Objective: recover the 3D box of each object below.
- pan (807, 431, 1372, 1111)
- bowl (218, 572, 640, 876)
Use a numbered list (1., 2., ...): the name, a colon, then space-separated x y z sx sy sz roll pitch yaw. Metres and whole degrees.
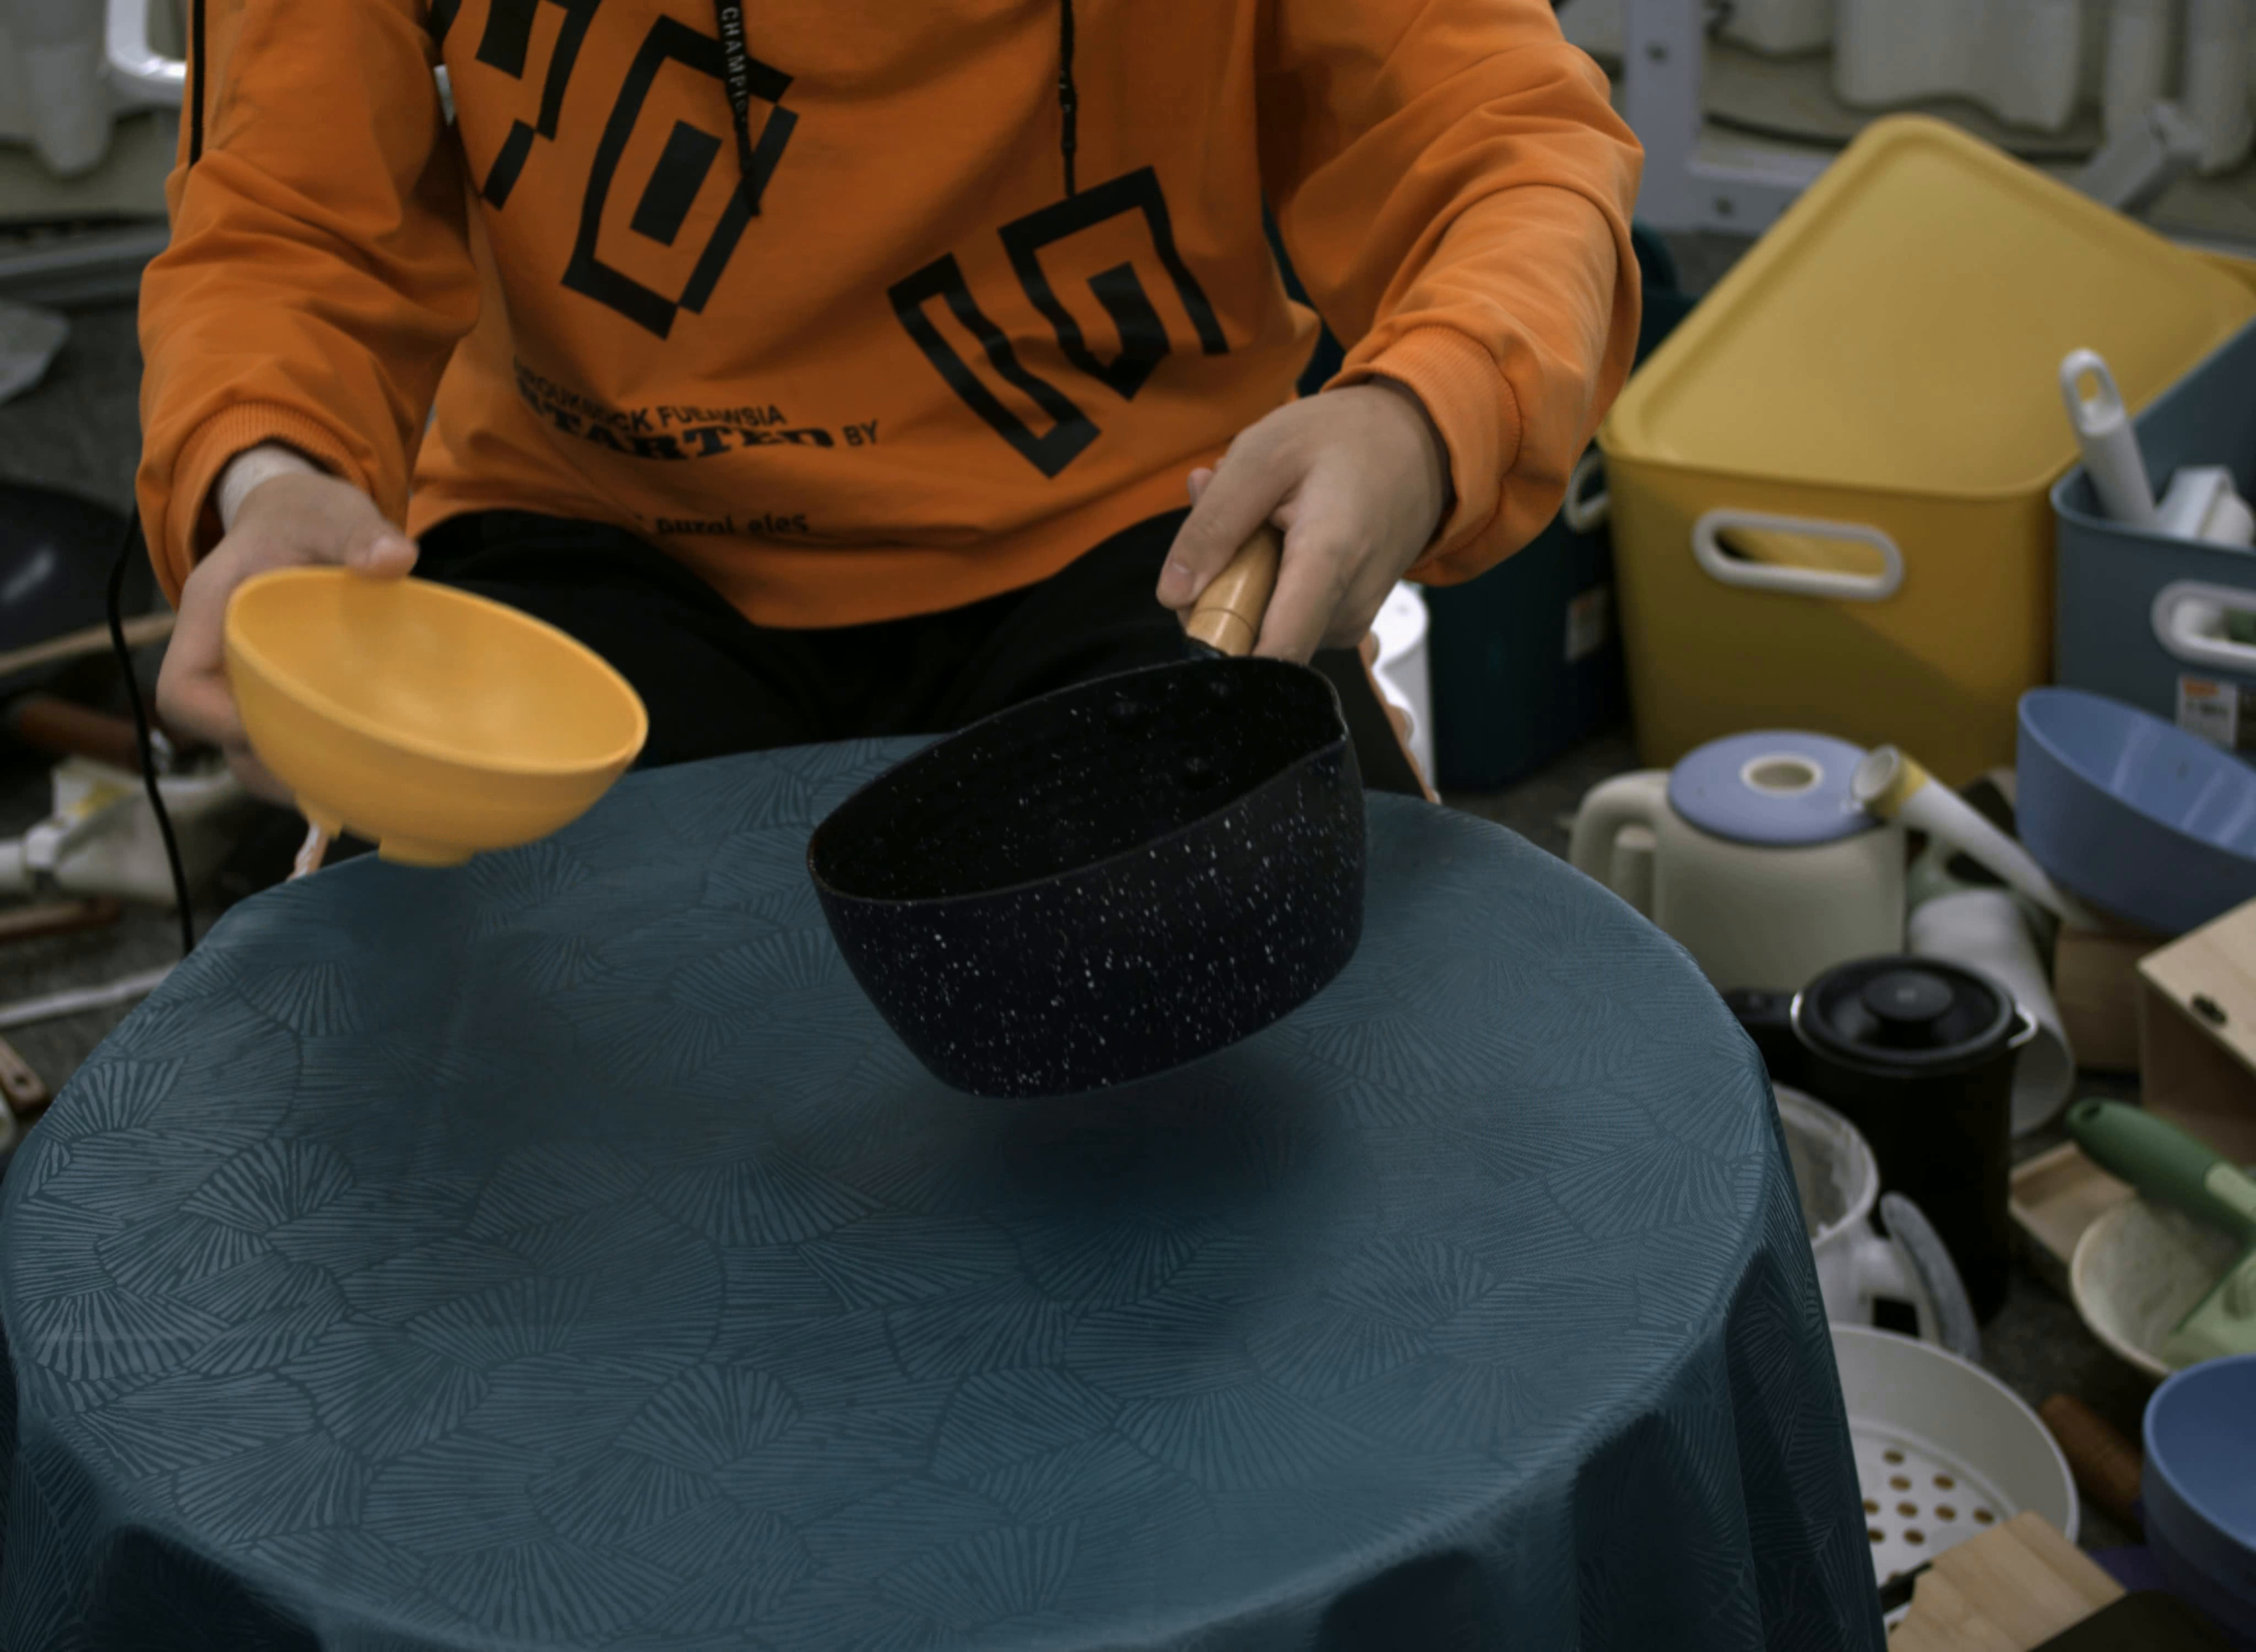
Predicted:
1. pan: 0.017 -0.022 1.930 0.205 0.107 0.348 -10 22 25
2. bowl: -0.239 -0.025 1.866 0.145 0.059 0.147 18 20 -6
